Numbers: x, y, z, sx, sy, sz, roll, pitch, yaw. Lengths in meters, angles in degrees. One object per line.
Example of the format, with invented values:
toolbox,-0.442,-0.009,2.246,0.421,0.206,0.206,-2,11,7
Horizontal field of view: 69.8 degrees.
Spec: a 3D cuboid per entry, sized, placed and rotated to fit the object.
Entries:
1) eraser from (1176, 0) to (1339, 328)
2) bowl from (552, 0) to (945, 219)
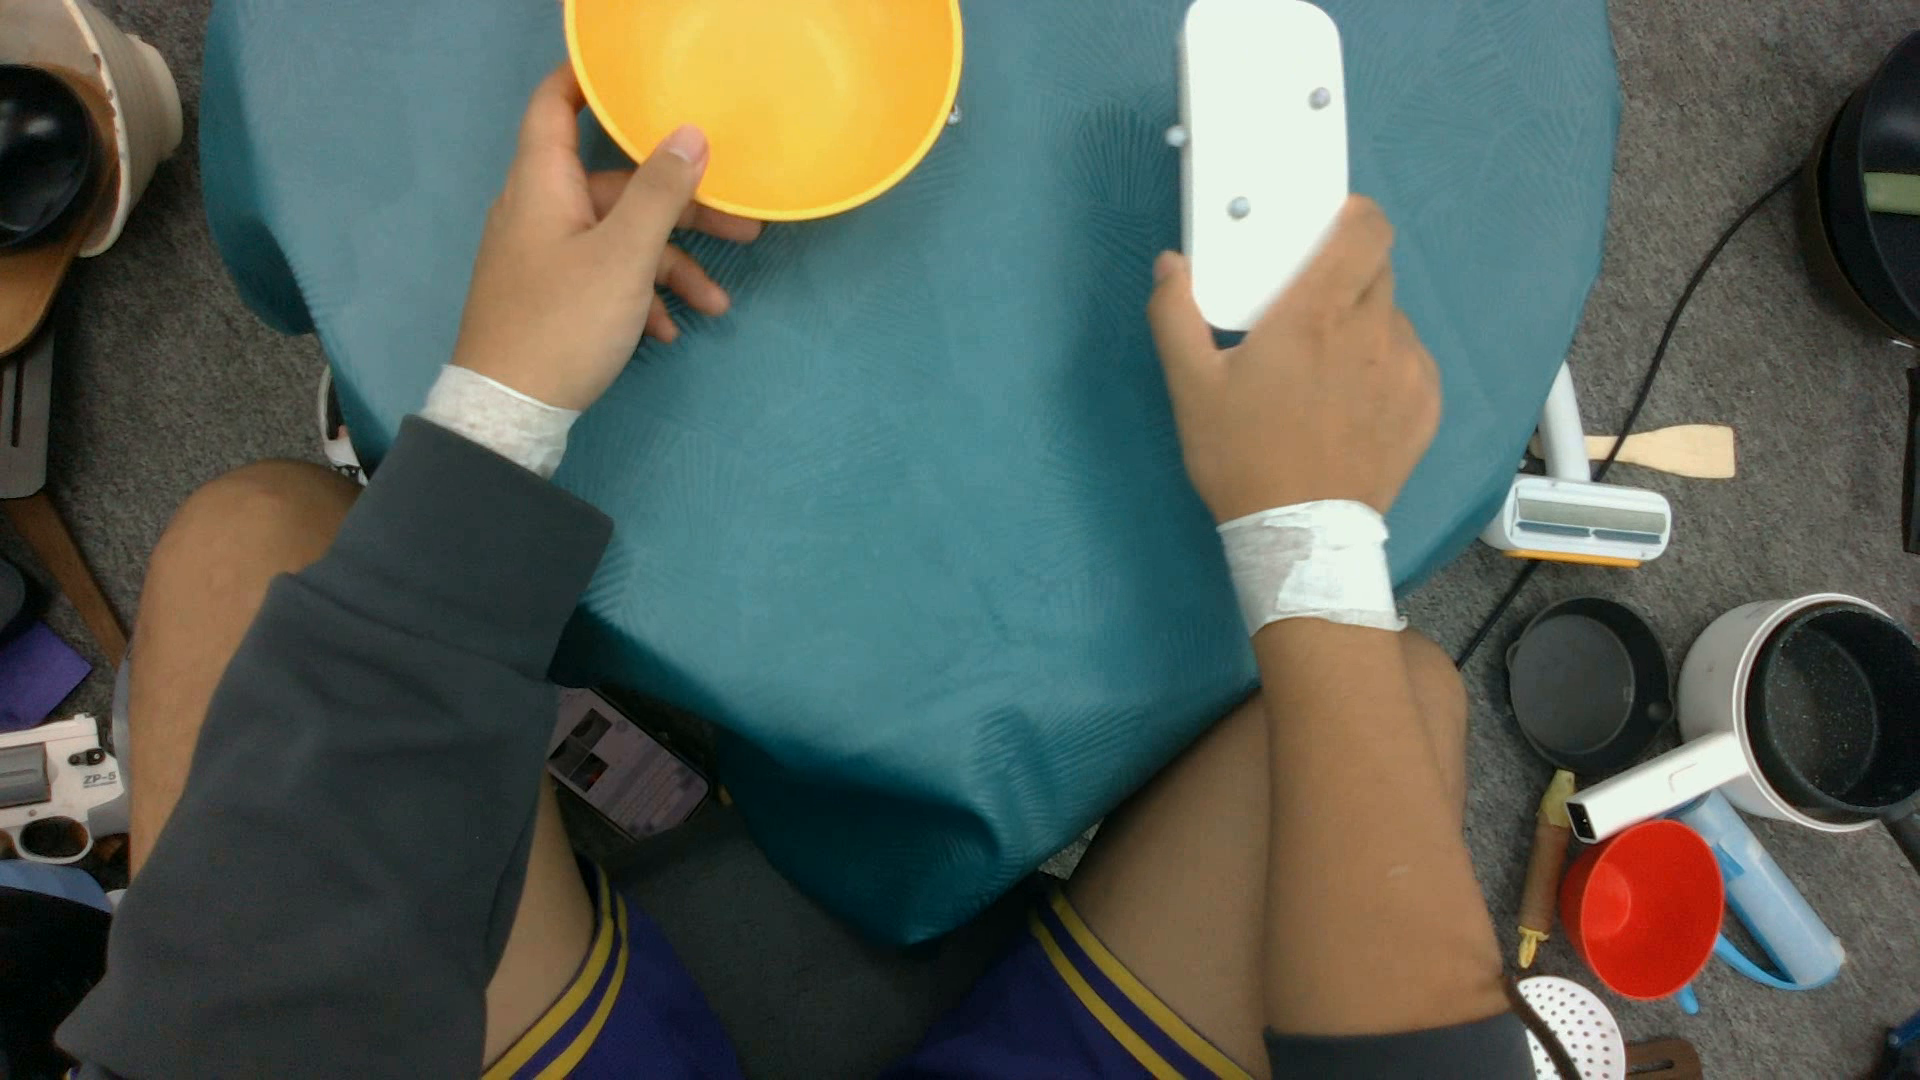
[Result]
eraser,0.116,-0.149,0.548,0.063,0.034,0.131,2,84,-8
bowl,-0.082,-0.190,0.540,0.145,0.060,0.145,1,87,-11
